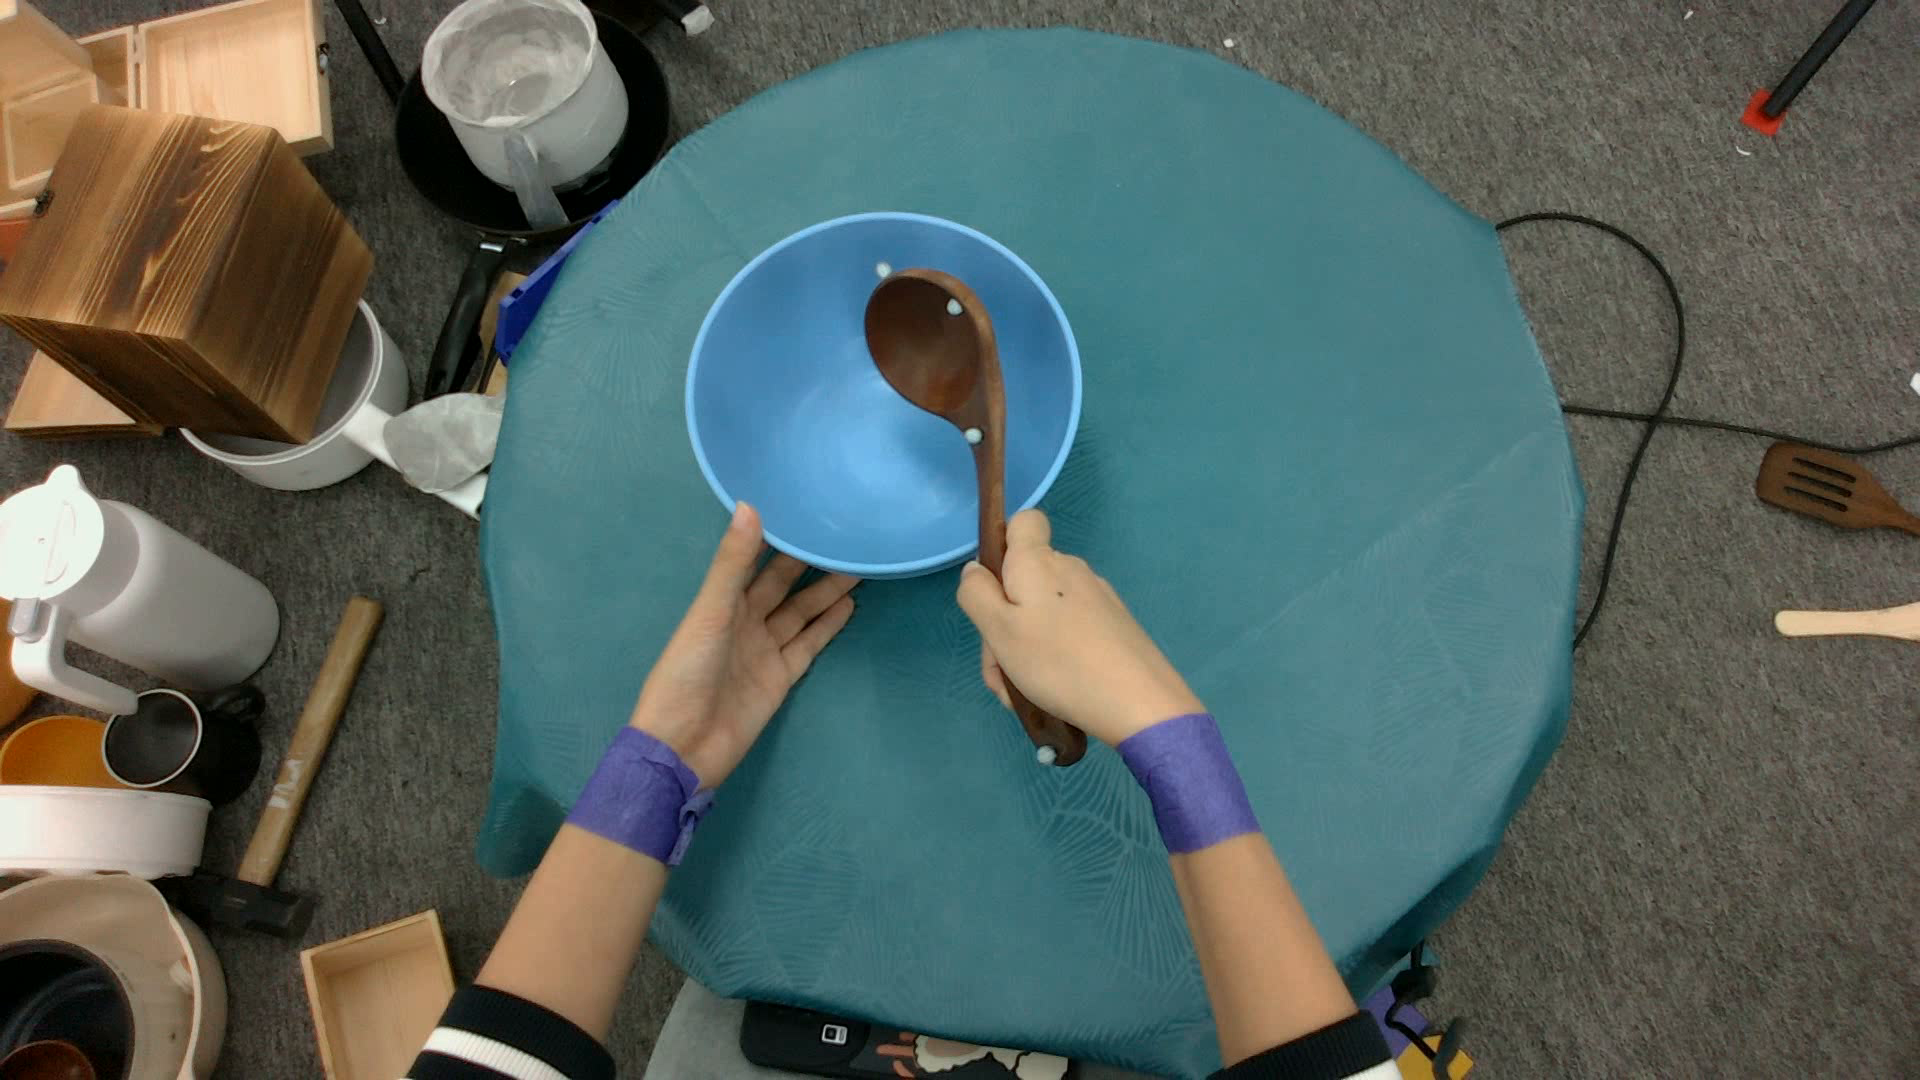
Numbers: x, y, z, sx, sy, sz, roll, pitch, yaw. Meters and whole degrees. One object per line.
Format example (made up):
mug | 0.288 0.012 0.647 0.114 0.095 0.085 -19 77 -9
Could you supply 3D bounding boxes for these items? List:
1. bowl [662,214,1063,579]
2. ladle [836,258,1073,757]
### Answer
bowl | -0.051 -0.061 0.717 0.196 0.095 0.197 2 68 -5
ladle | -0.006 -0.021 0.637 0.065 0.076 0.261 9 54 -33
